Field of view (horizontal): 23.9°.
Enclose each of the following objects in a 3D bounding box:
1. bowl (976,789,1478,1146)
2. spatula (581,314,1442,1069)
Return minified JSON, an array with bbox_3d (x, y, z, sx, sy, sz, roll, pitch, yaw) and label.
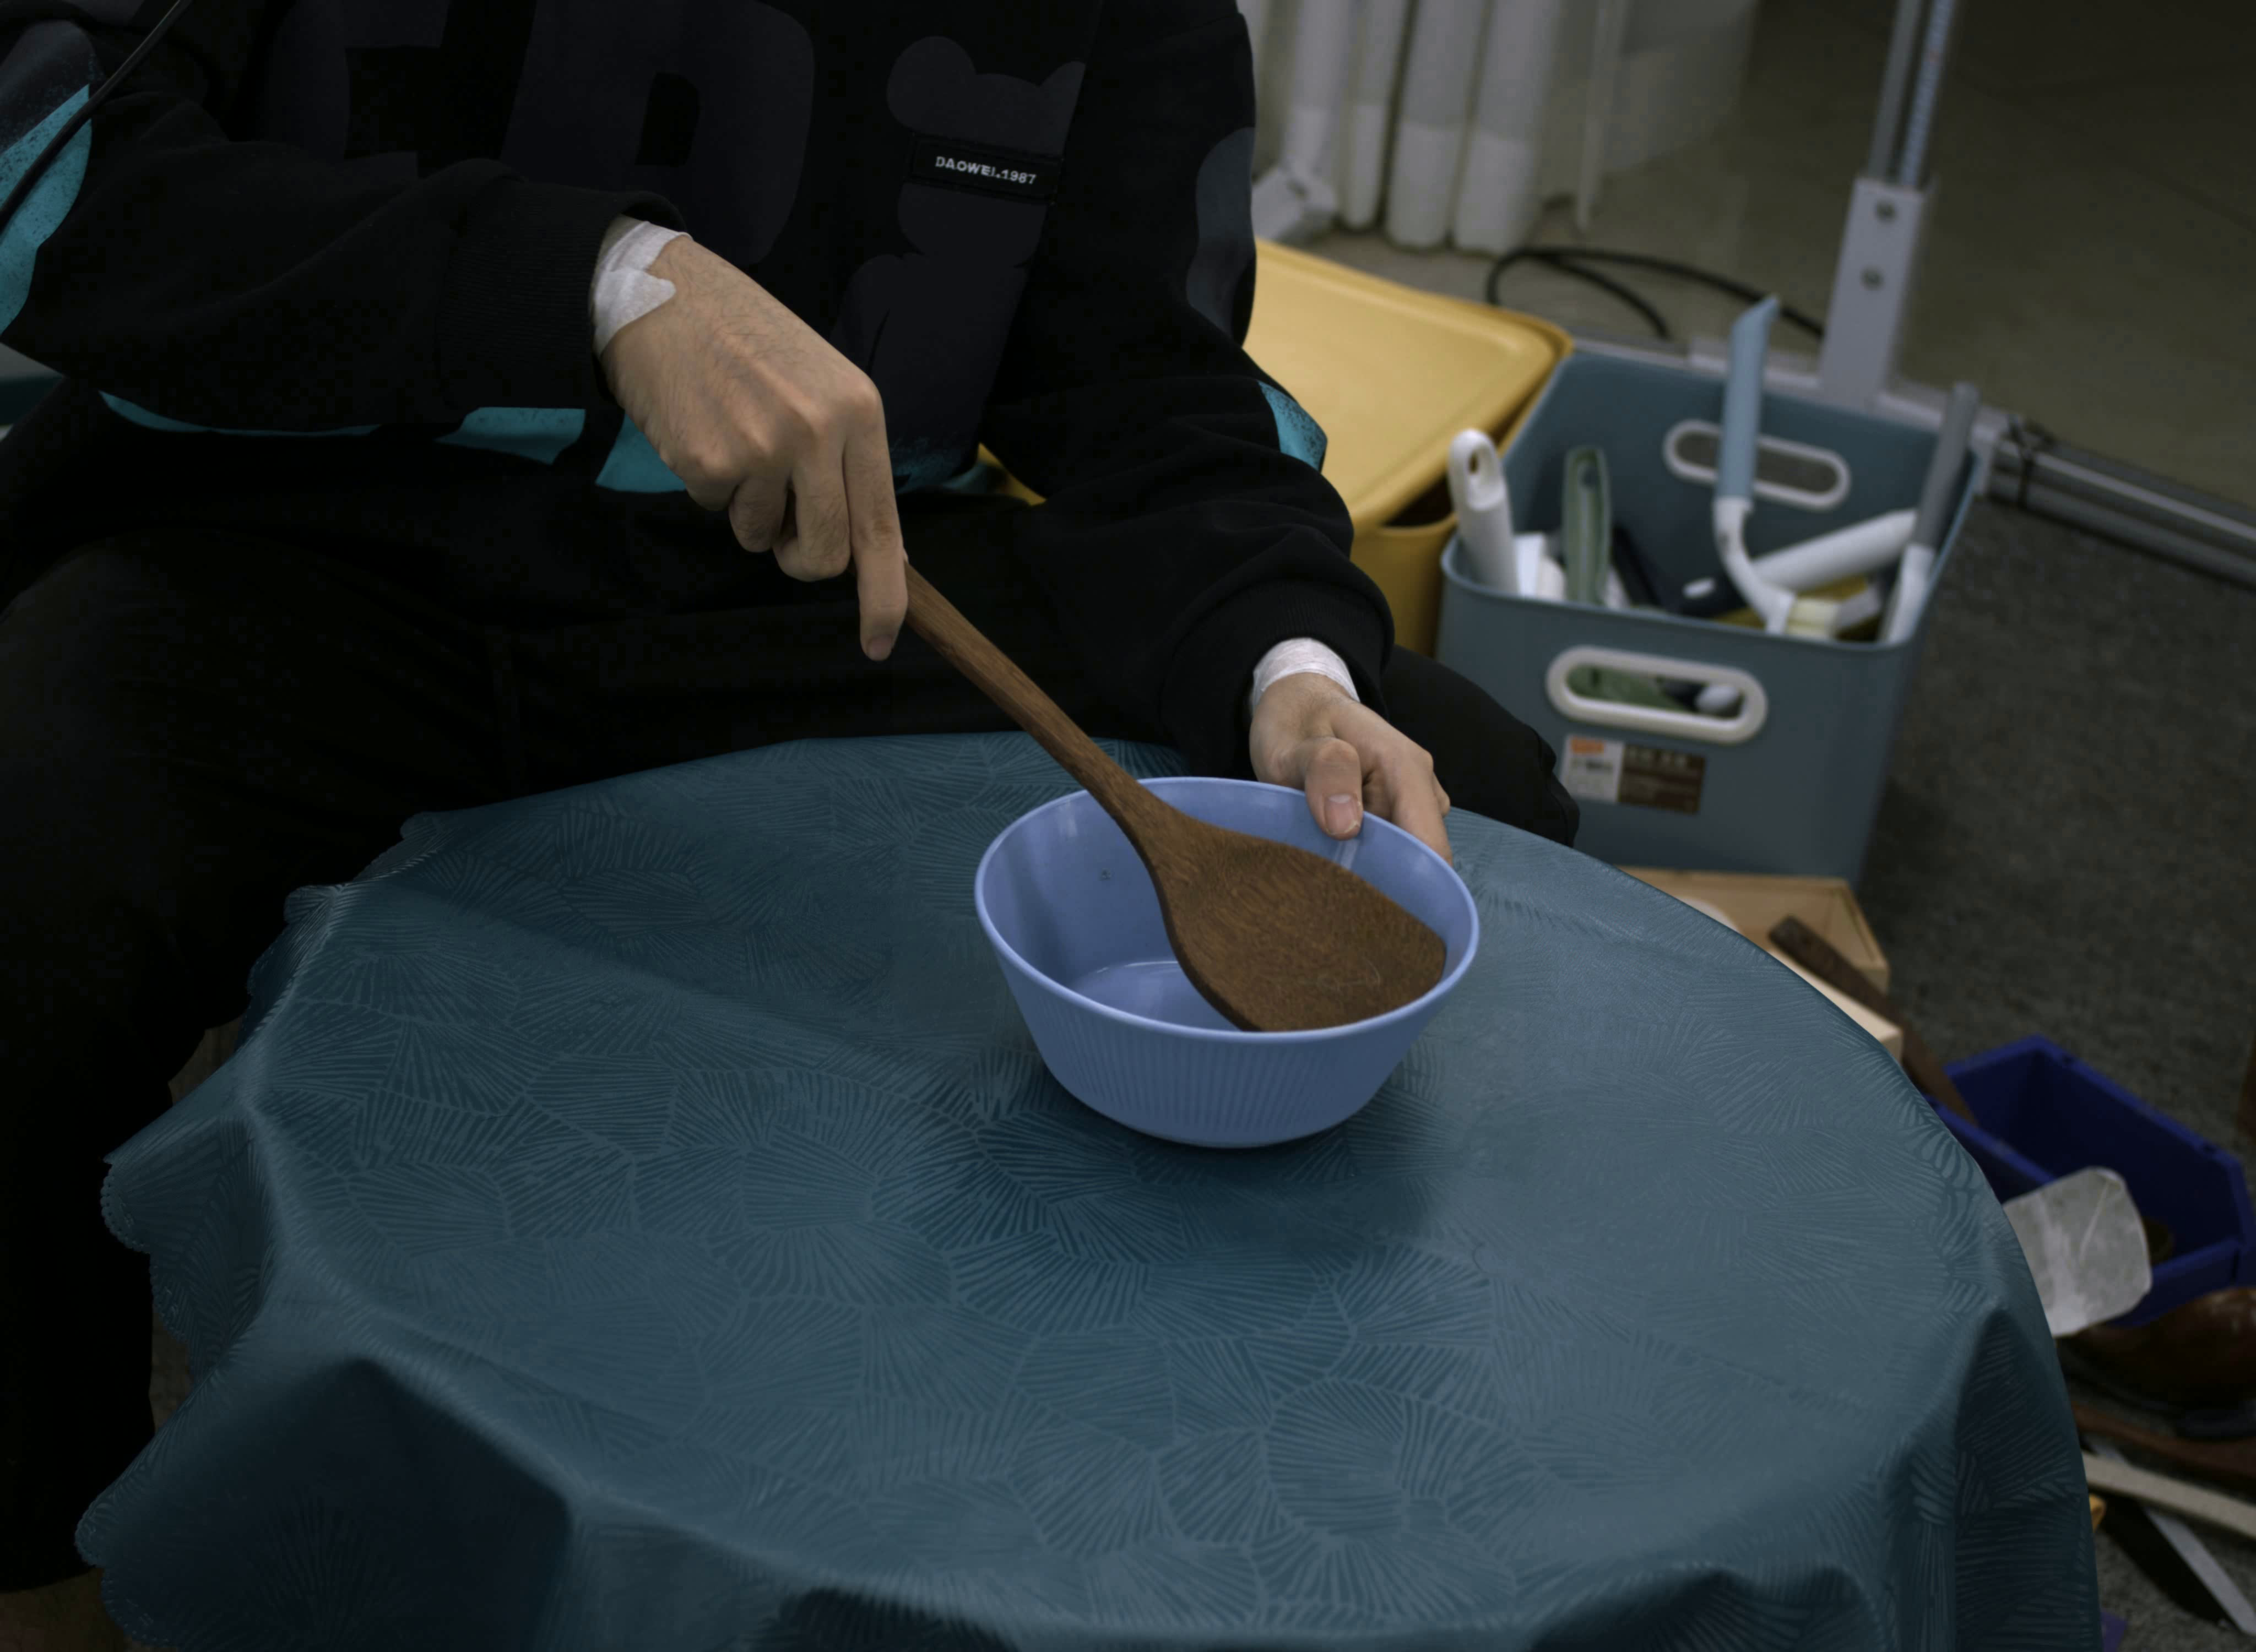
[{"bbox_3d":[0.032,0.055,1.855,0.175,0.070,0.177,3,27,-2],"label":"bowl"},{"bbox_3d":[-0.049,-0.055,1.857,0.387,0.016,0.096,42,45,9],"label":"spatula"}]
